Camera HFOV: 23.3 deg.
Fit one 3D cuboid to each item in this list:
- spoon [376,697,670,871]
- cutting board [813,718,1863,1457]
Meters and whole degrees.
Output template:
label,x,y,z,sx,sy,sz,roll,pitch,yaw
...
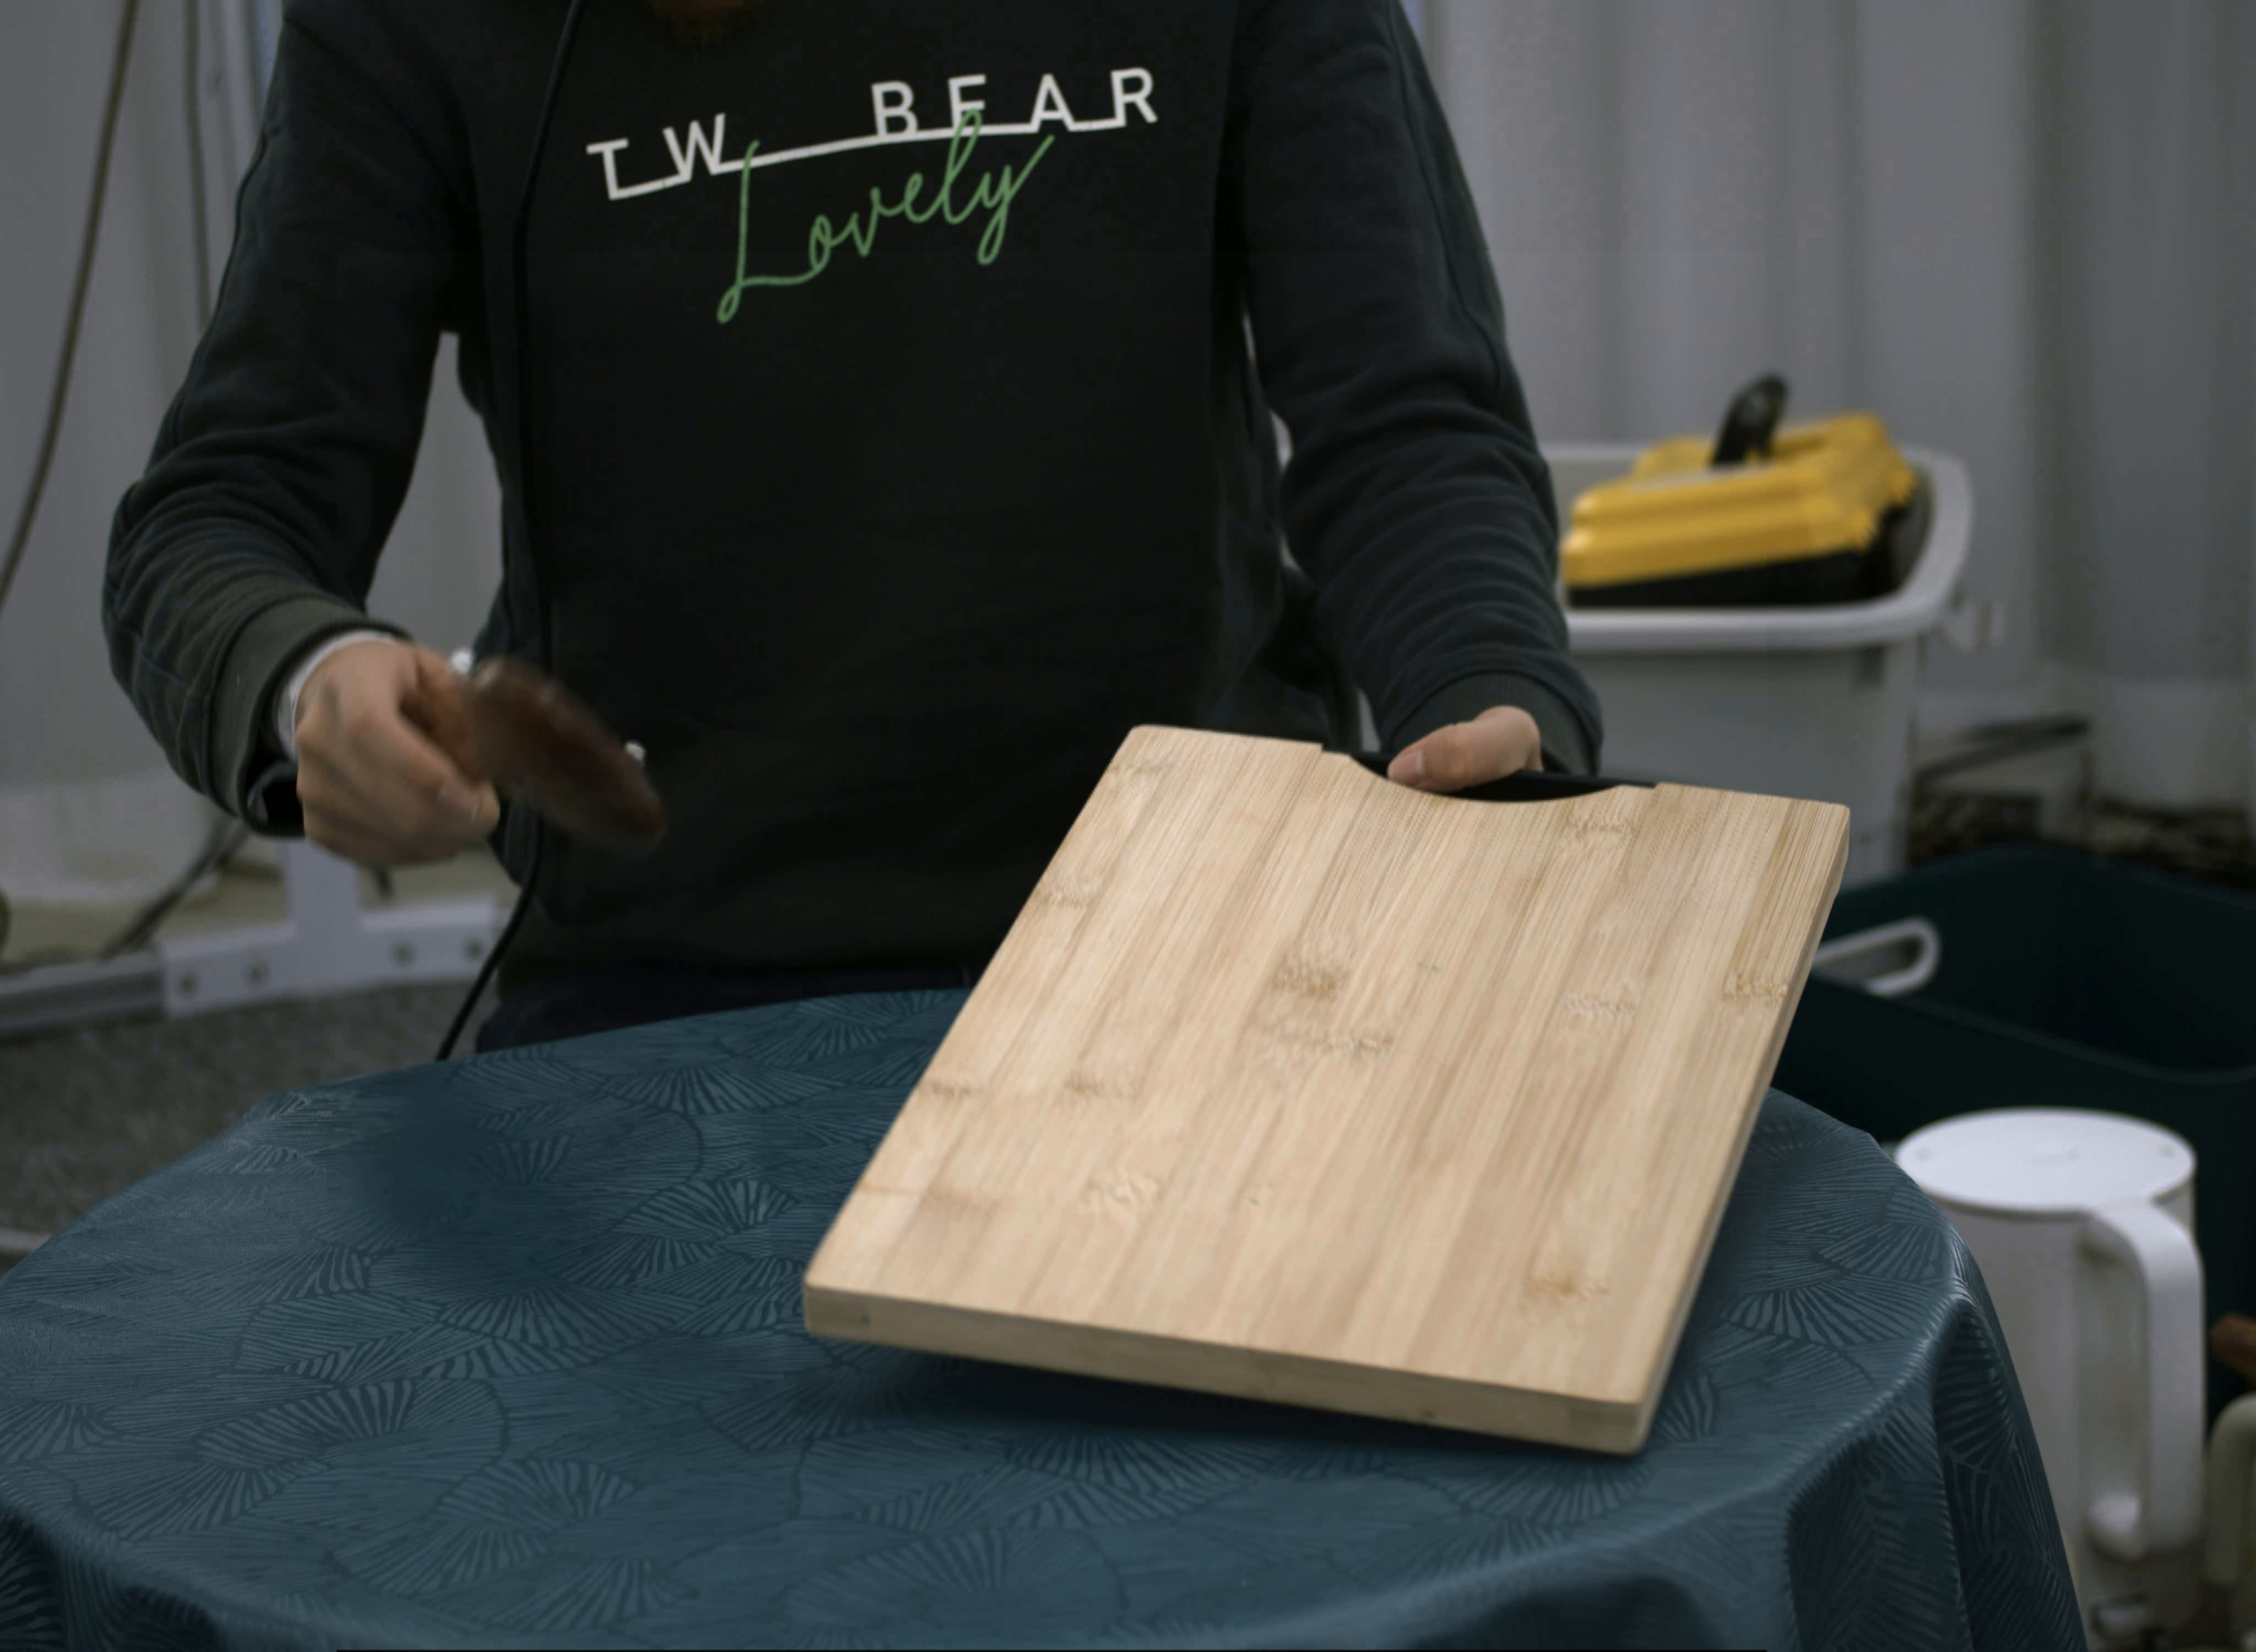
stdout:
label,x,y,z,sx,sy,sz,roll,pitch,yaw
spoon,-0.192,-0.011,1.660,0.017,0.075,0.216,-51,18,-13
cutting board,0.073,0.068,1.643,0.250,0.023,0.352,7,30,13
